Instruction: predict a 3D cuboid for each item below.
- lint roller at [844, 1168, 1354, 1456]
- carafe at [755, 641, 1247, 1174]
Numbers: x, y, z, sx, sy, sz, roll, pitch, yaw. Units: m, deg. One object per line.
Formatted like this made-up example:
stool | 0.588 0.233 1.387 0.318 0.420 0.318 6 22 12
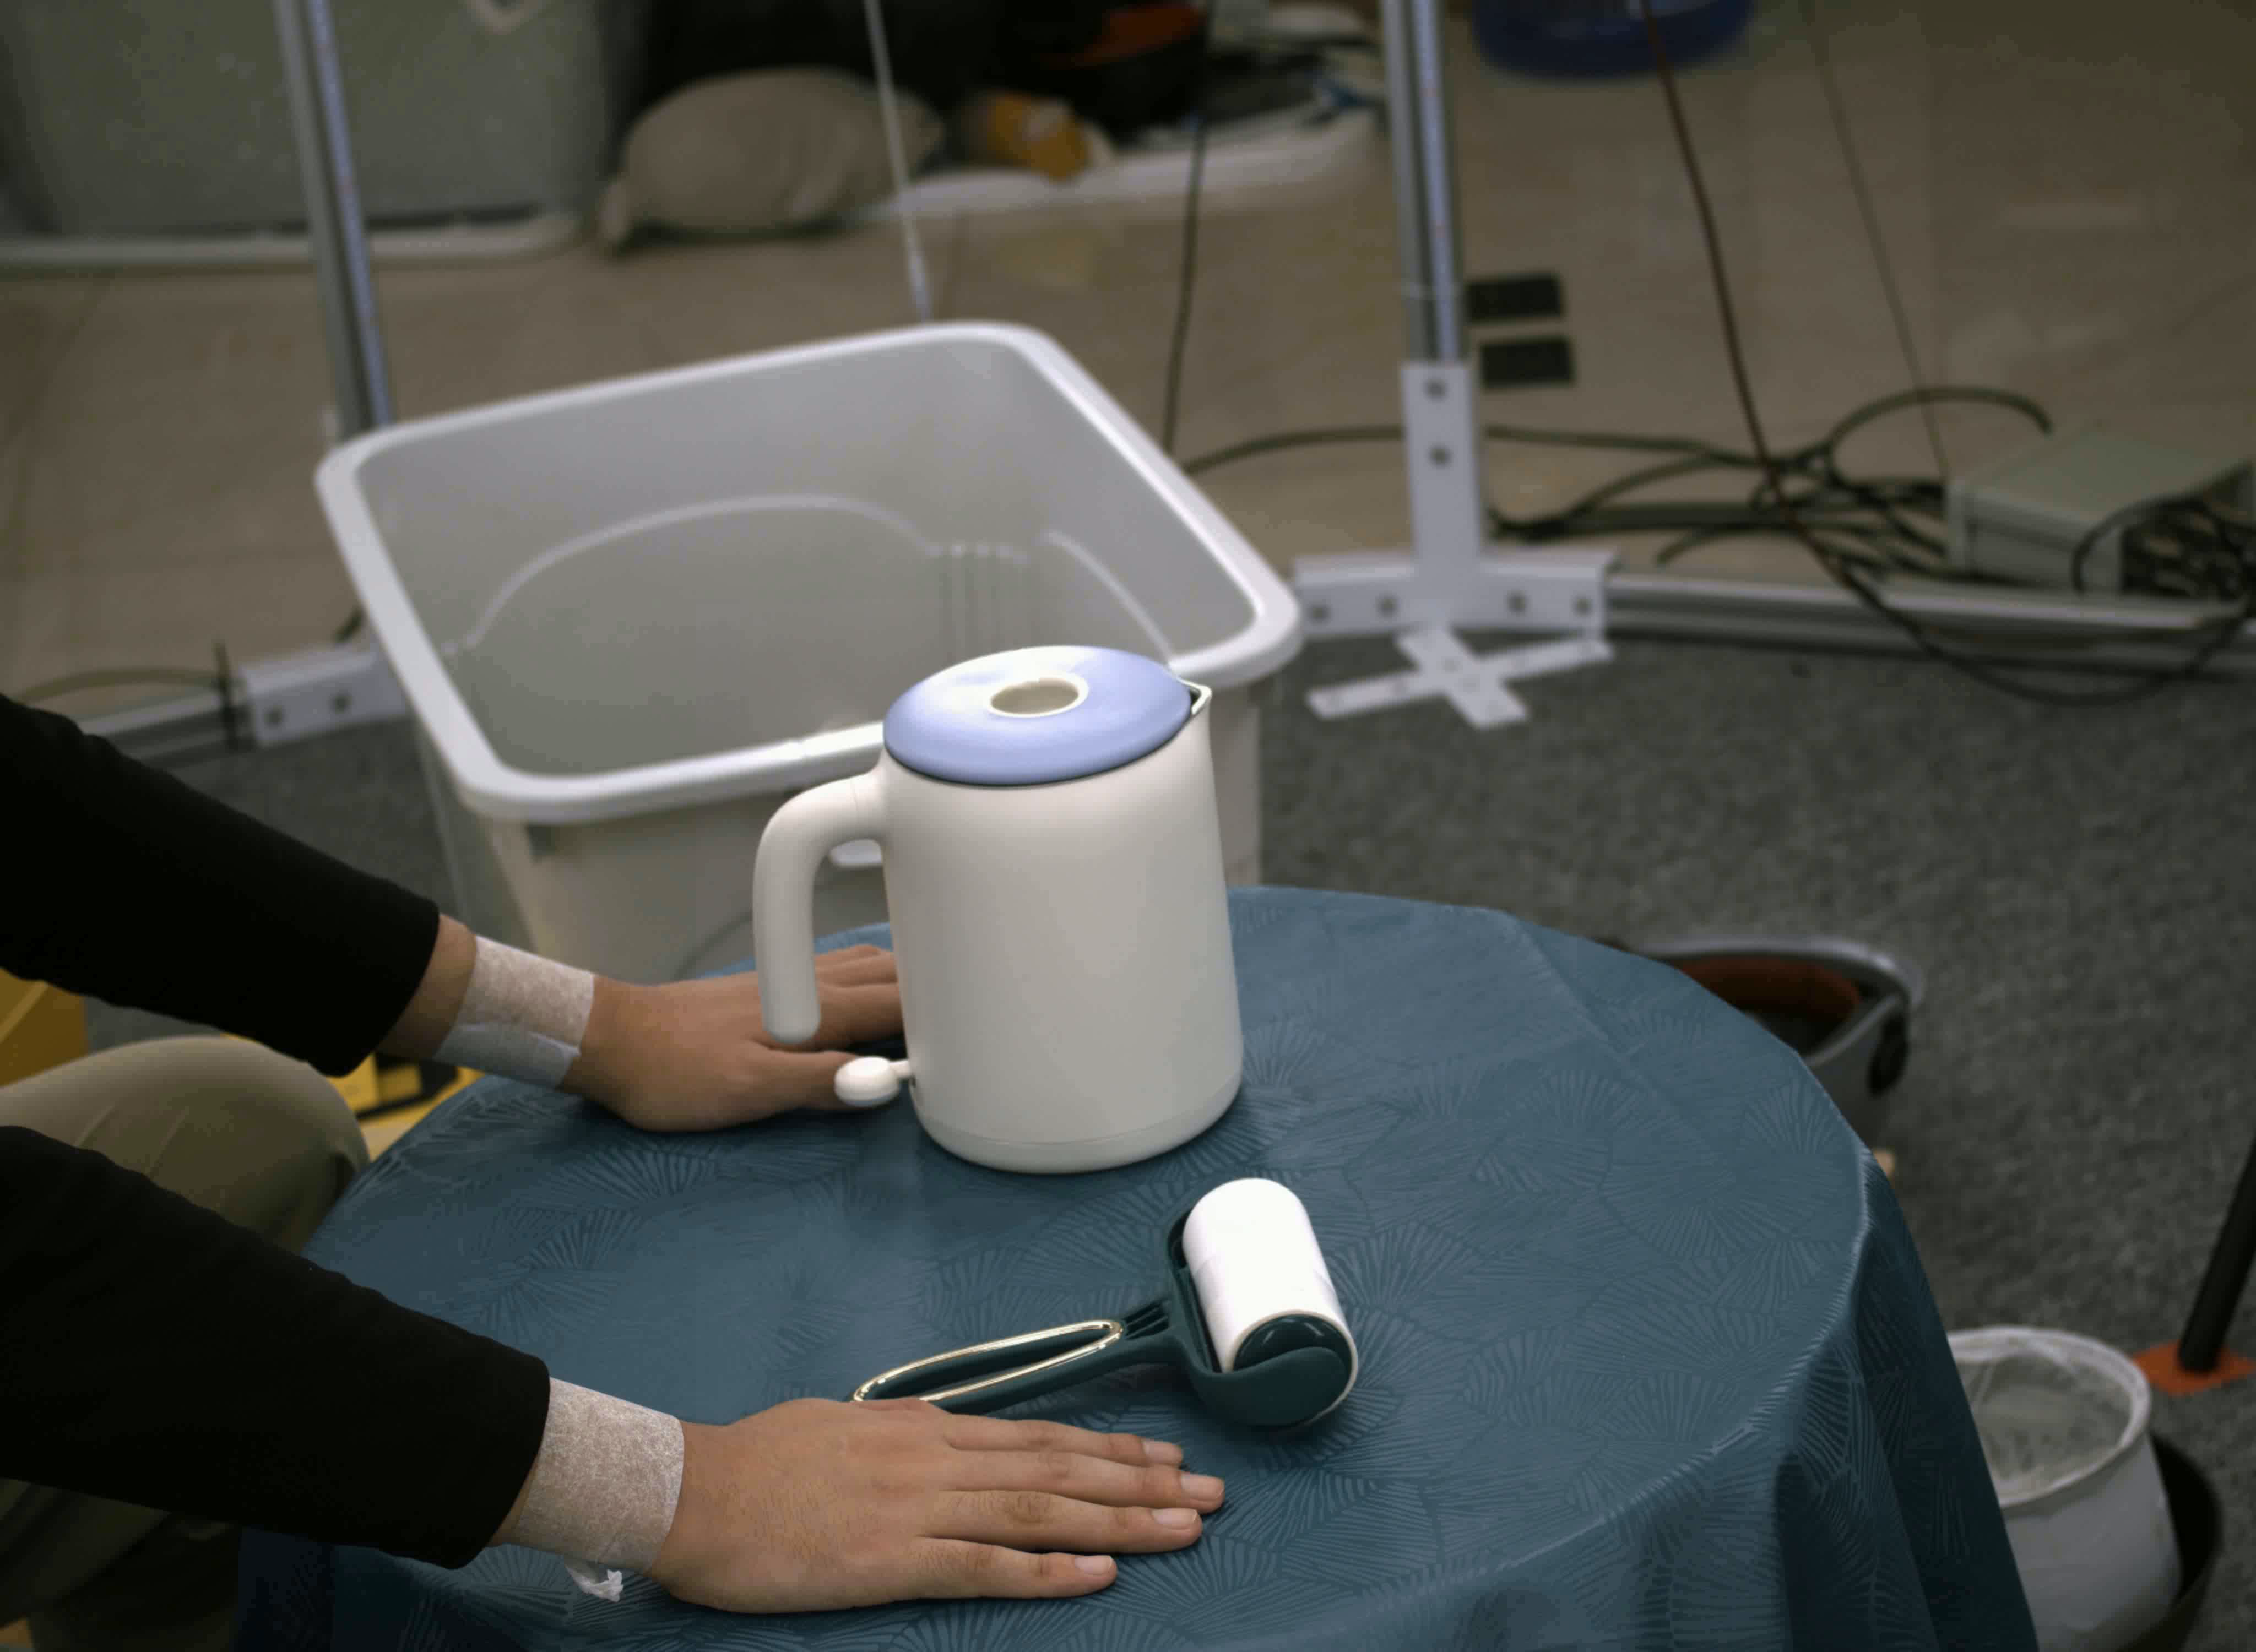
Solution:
lint roller | -0.016 0.182 2.011 0.180 0.049 0.132 -12 25 -3
carafe | -0.050 0.036 2.175 0.190 0.185 0.130 -13 26 -9
